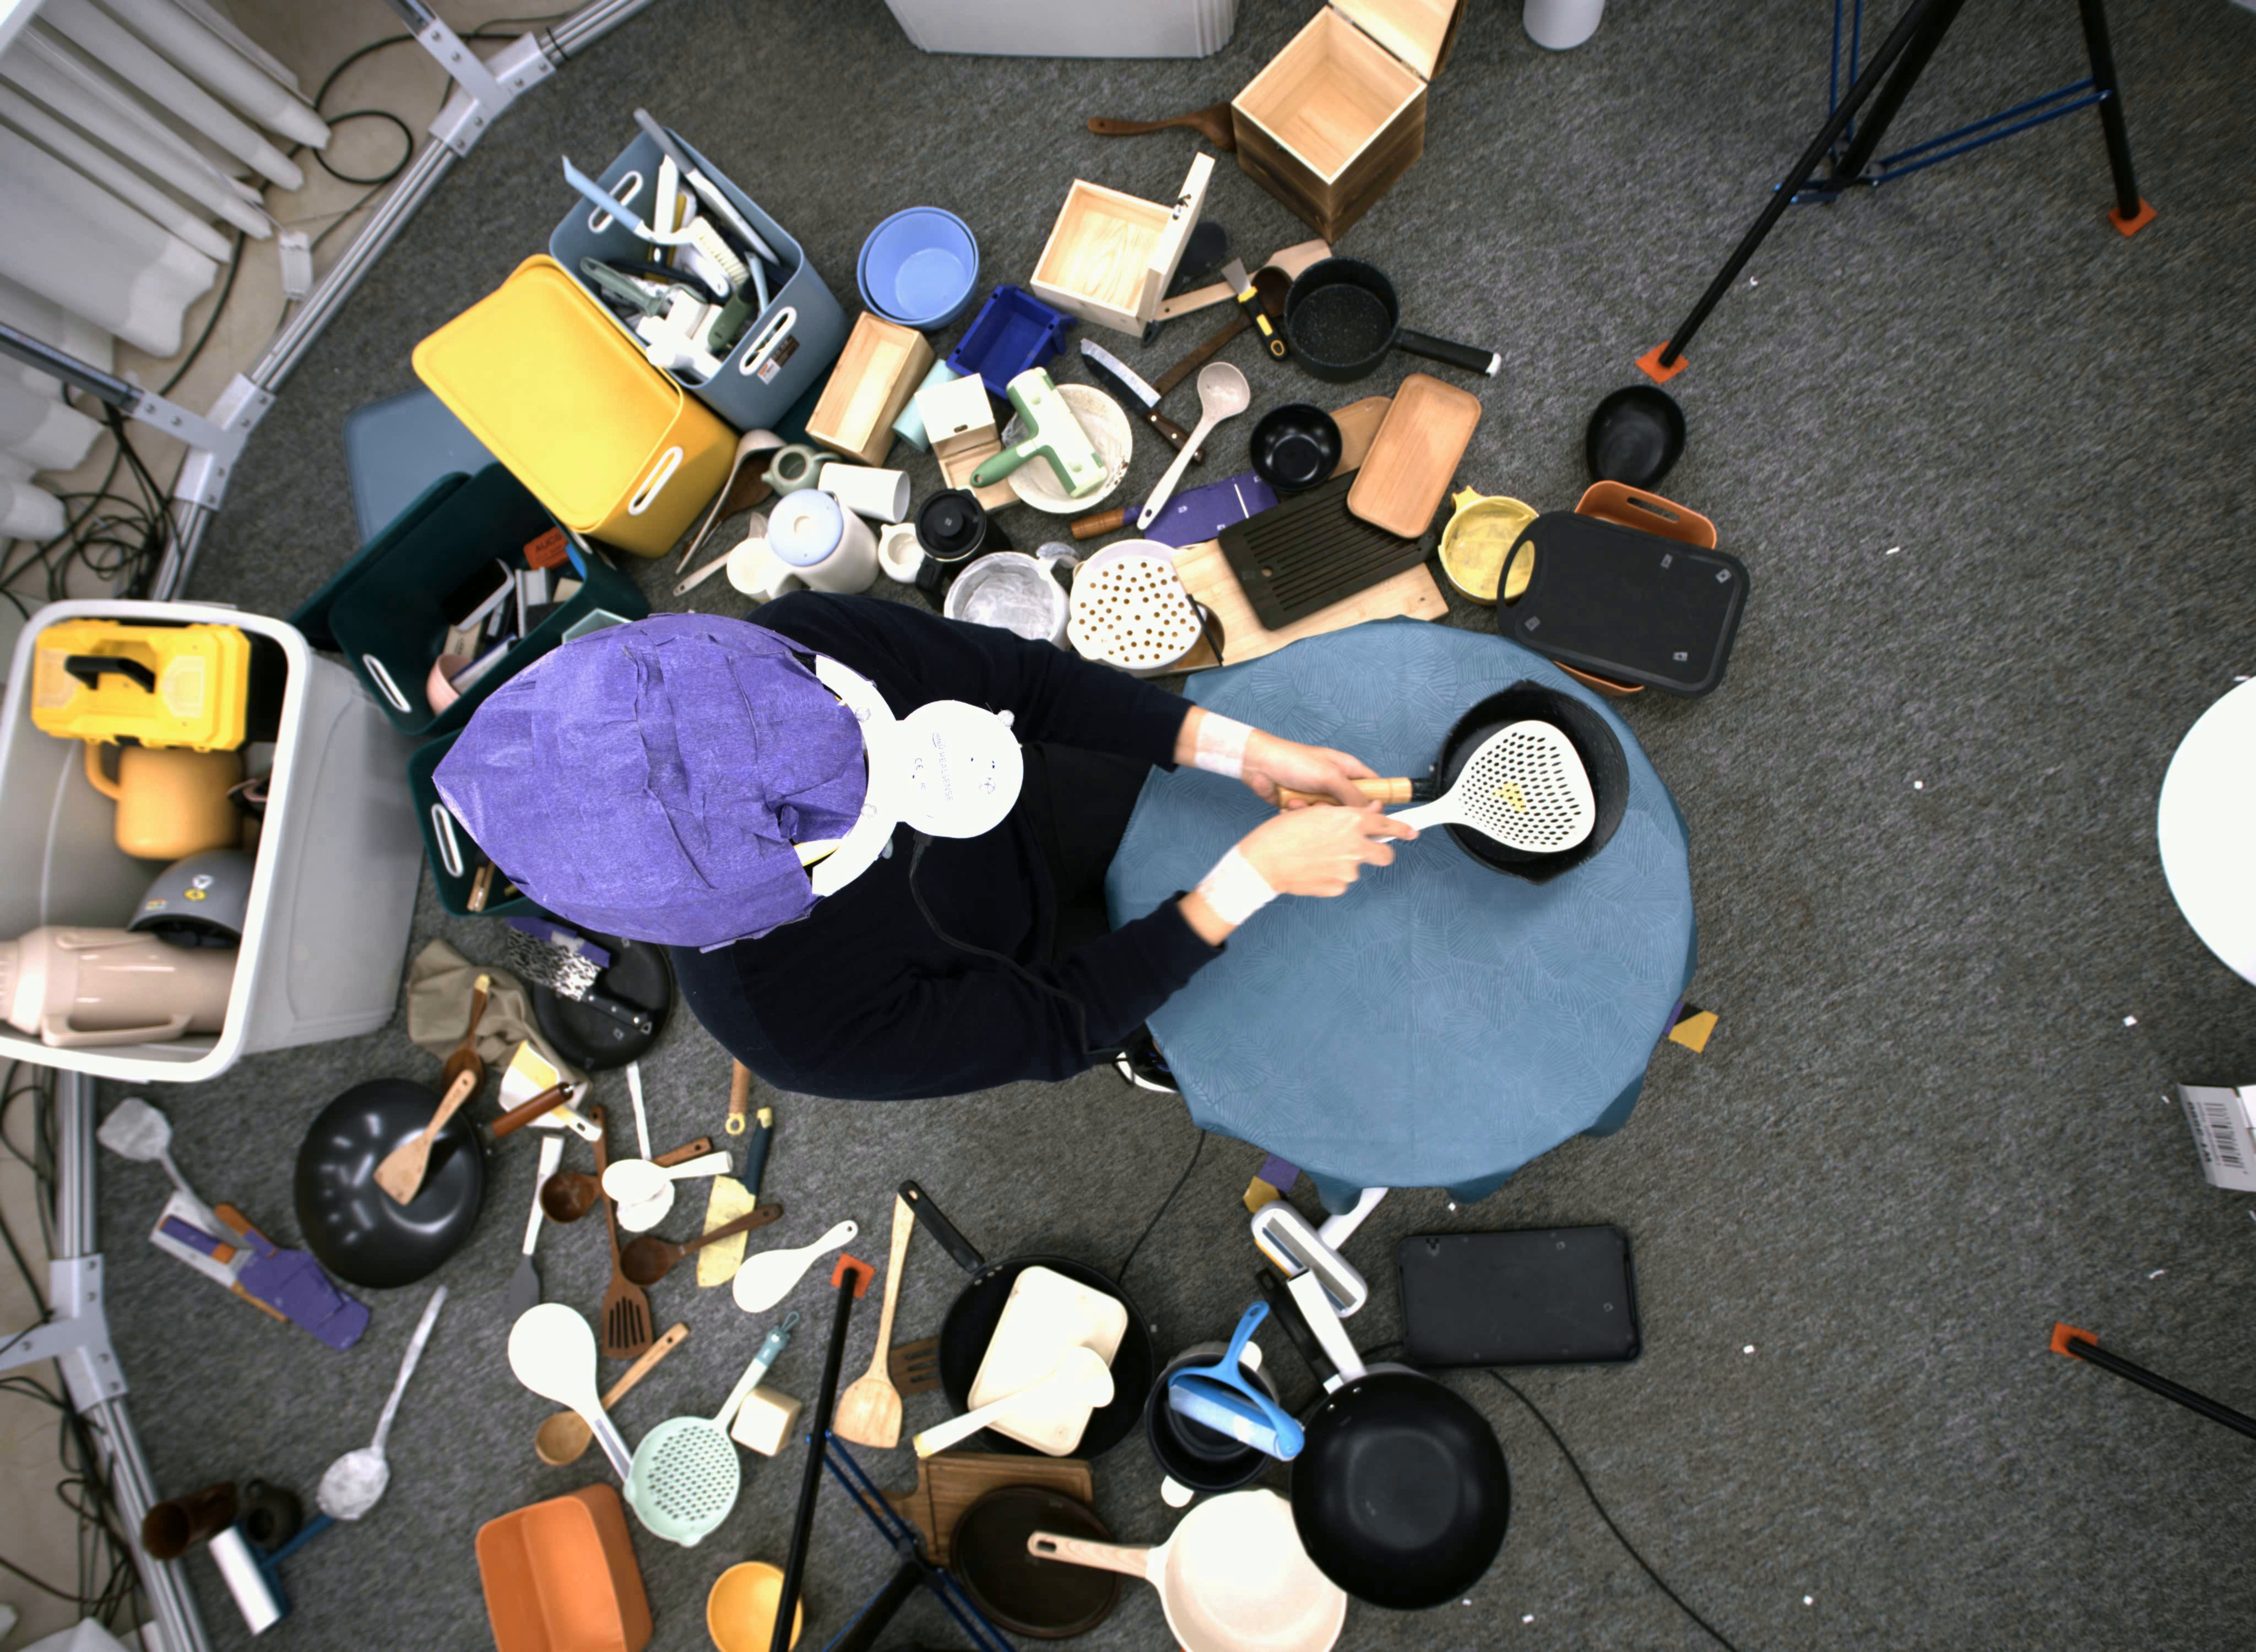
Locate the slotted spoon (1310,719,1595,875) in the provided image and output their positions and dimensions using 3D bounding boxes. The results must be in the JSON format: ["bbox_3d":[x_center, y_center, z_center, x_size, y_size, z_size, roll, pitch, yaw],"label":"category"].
[{"bbox_3d":[0.313,-0.014,1.316,0.344,0.051,0.136,-15,84,-32],"label":"slotted spoon"}]

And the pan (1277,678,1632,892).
[{"bbox_3d":[0.315,-0.035,1.356,0.343,0.108,0.207,-4,89,2],"label":"pan"}]
